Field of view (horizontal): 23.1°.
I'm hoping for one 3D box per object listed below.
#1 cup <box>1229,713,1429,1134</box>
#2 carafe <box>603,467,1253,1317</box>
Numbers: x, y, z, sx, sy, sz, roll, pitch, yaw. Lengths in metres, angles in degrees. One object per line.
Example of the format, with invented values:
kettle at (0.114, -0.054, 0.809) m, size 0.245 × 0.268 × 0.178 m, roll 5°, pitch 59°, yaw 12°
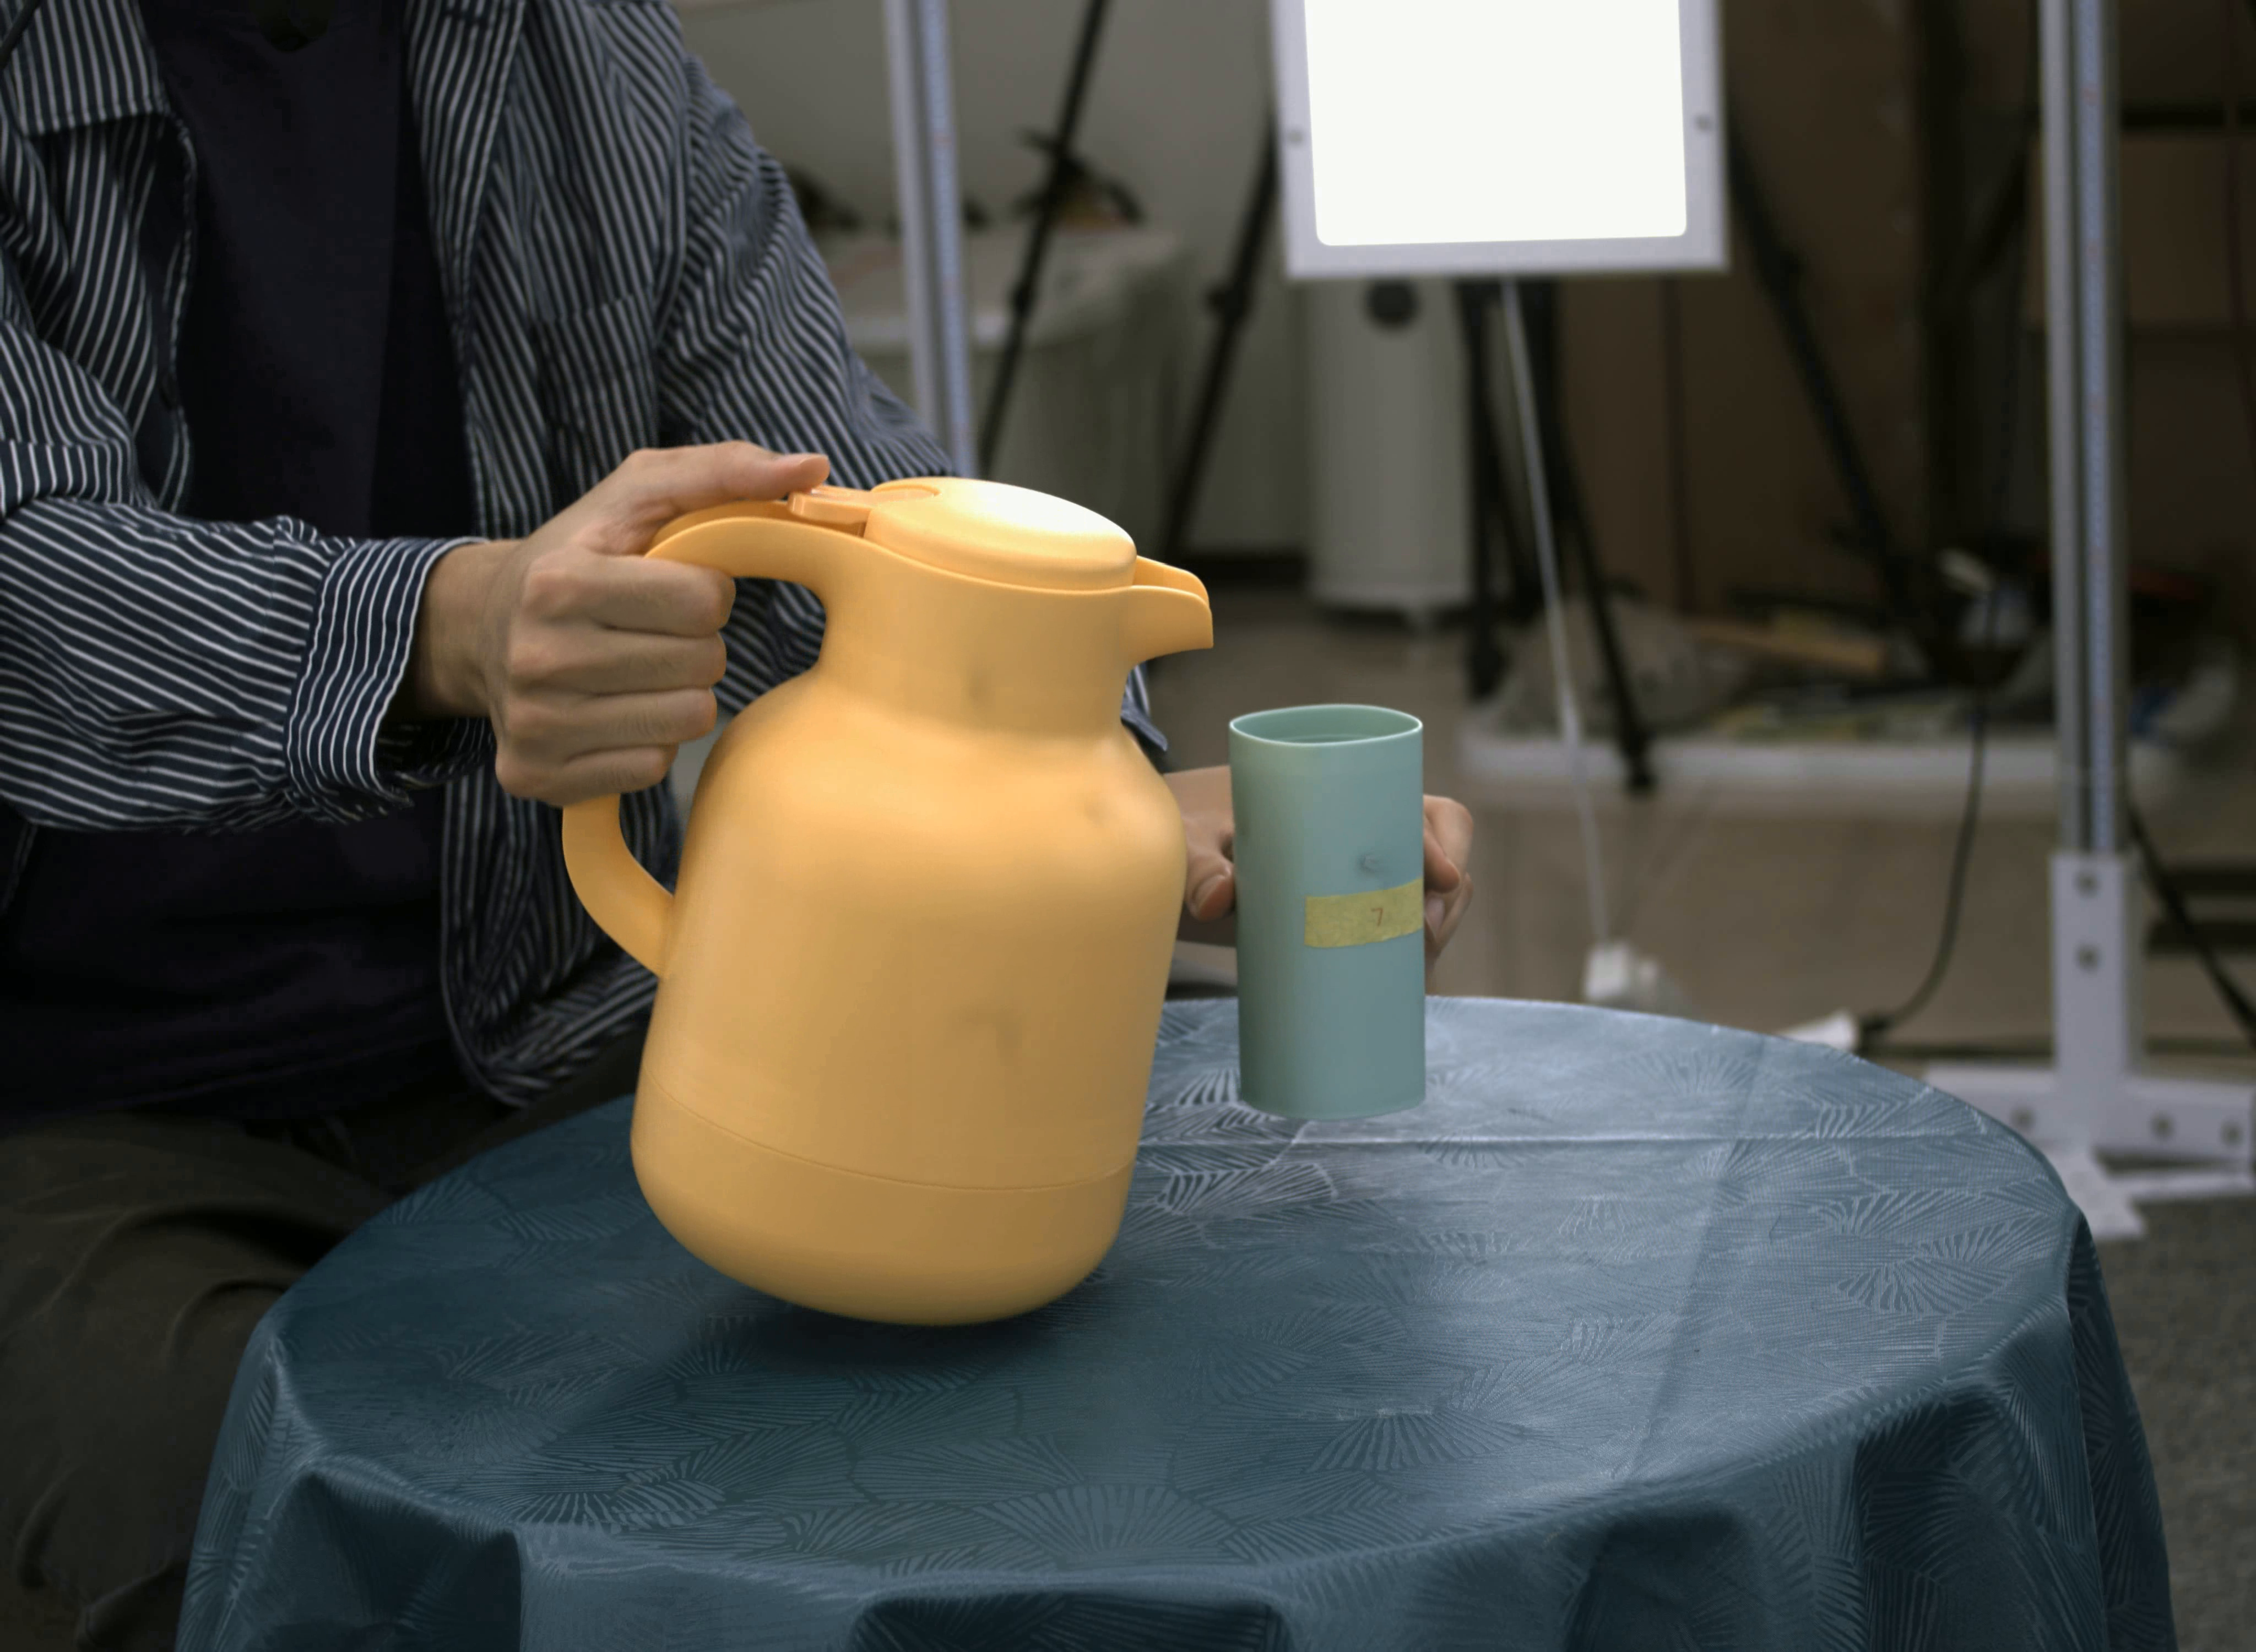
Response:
cup at (0.068, 0.031, 1.857) m, size 0.066 × 0.133 × 0.066 m, roll -3°, pitch 12°, yaw -1°
carafe at (-0.071, 0.013, 1.769) m, size 0.201 × 0.262 × 0.163 m, roll 10°, pitch 16°, yaw -6°
